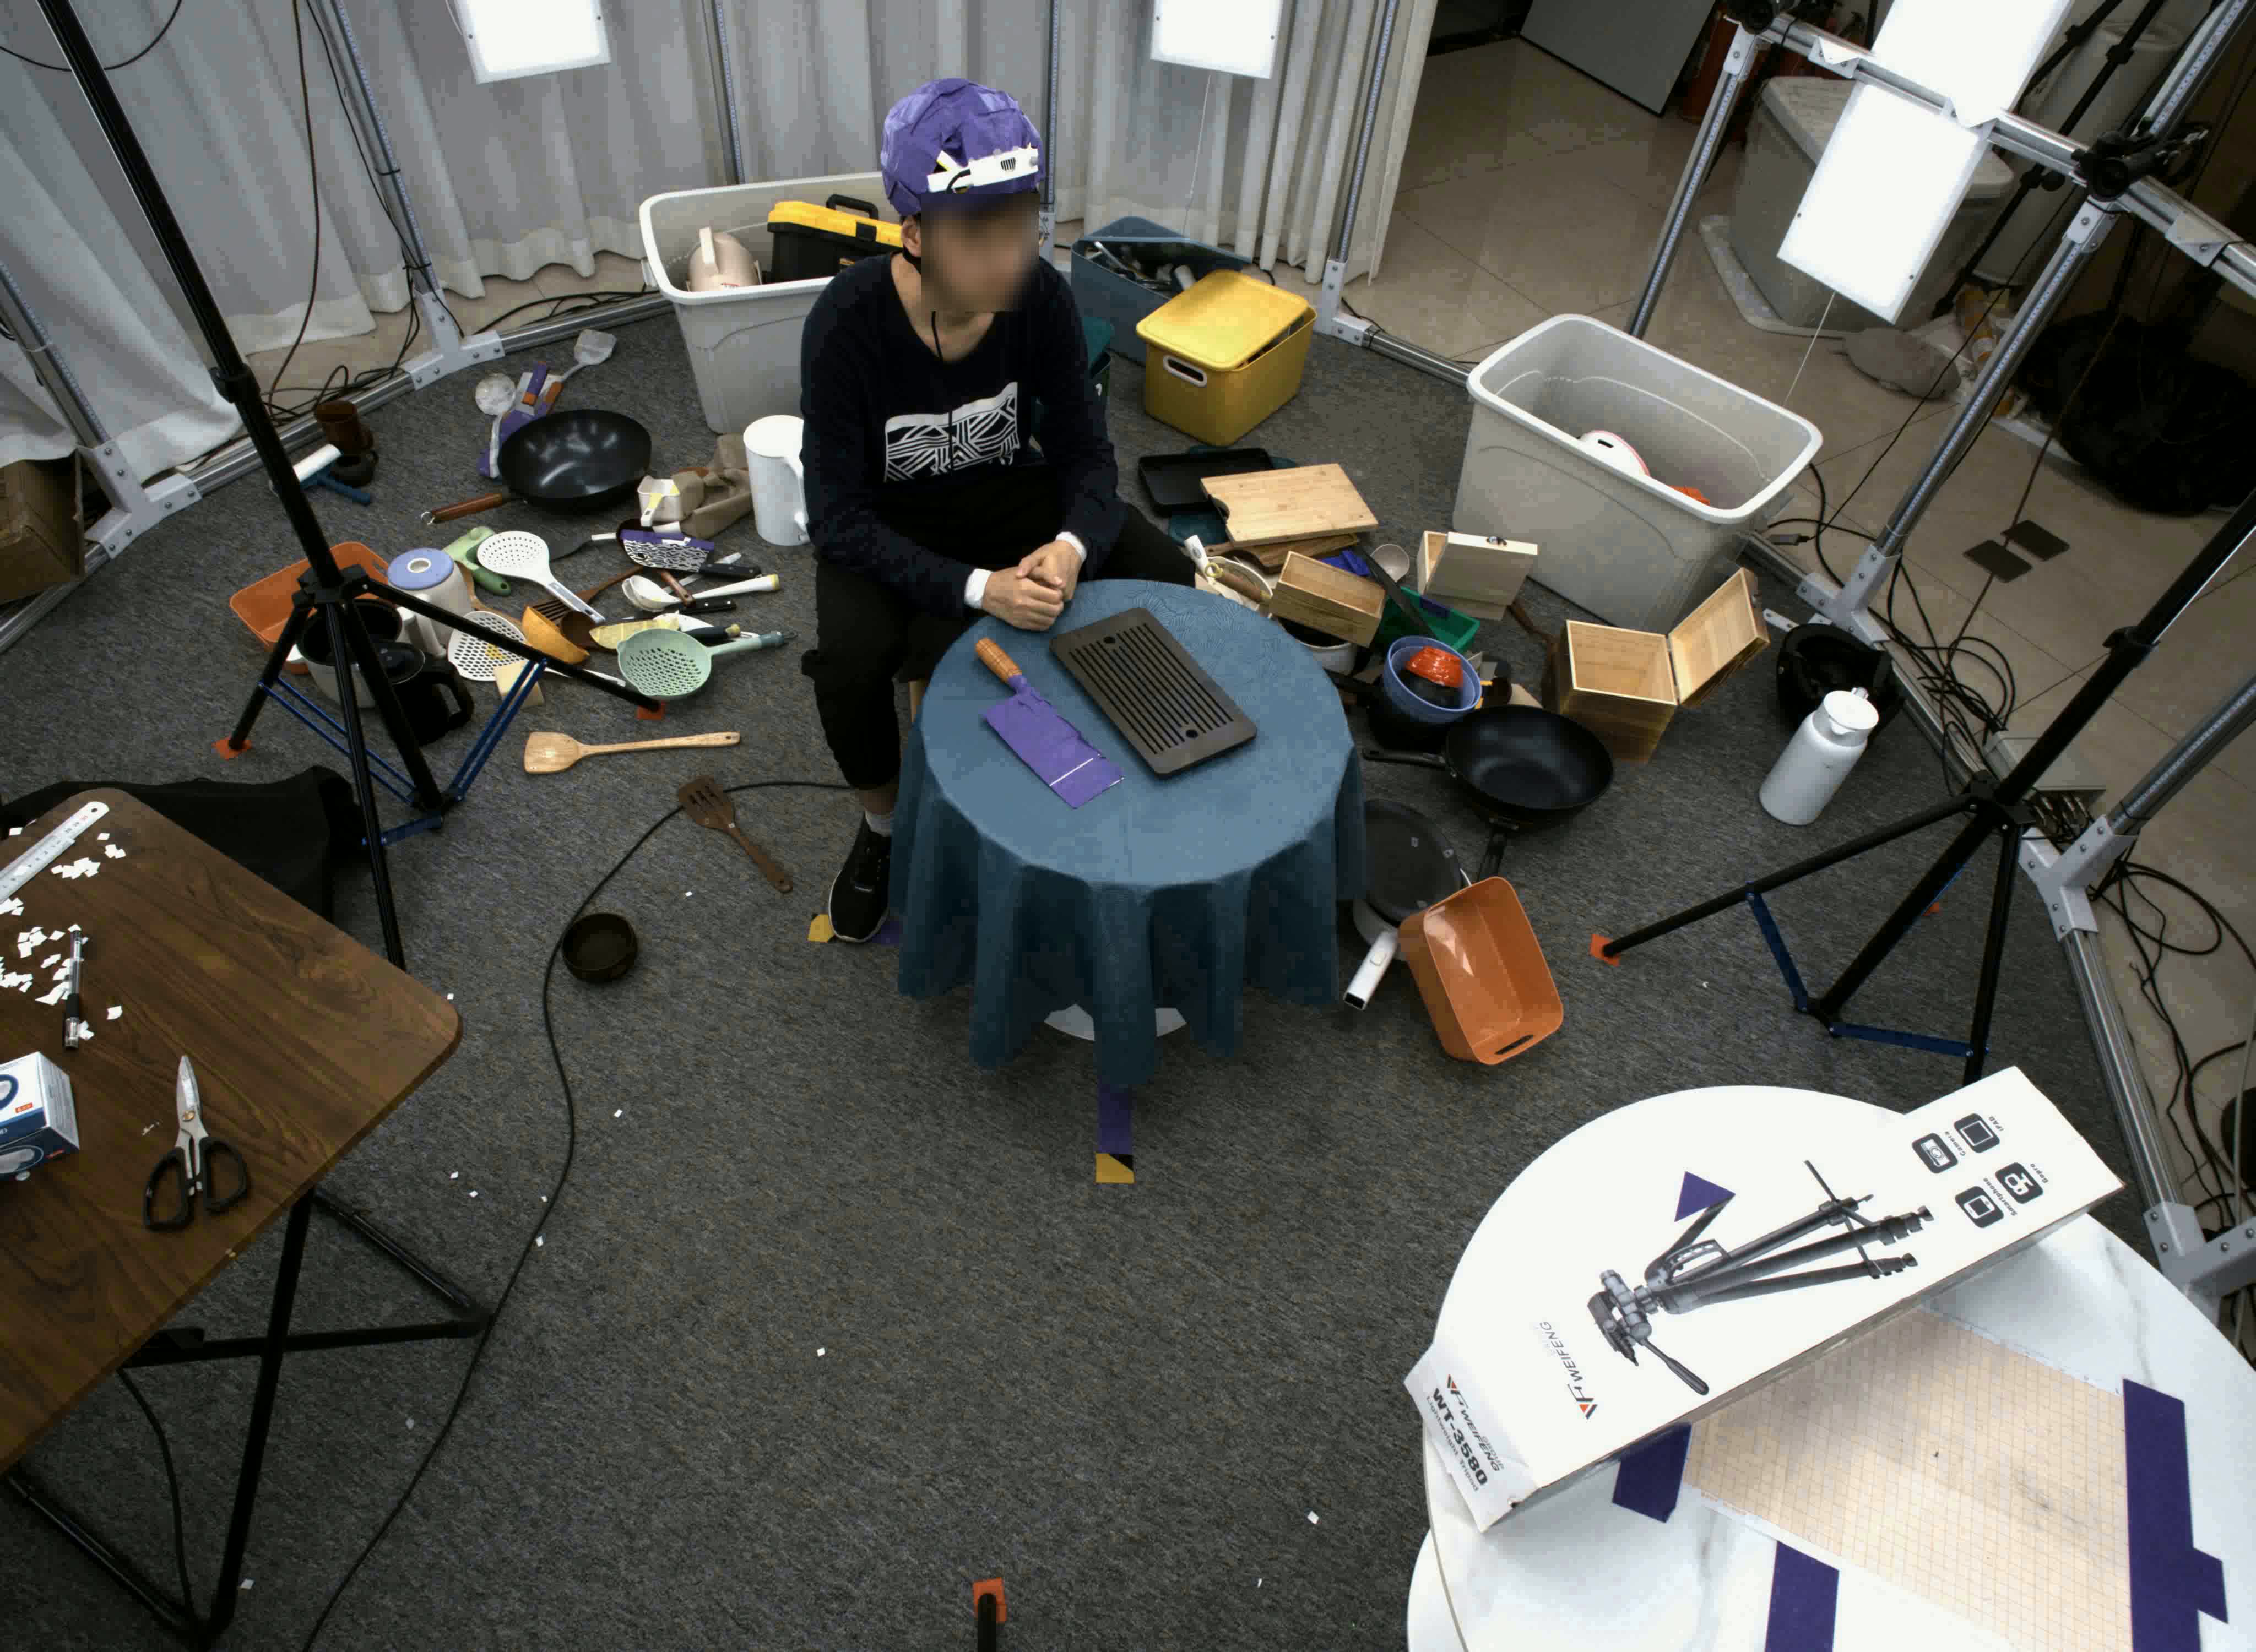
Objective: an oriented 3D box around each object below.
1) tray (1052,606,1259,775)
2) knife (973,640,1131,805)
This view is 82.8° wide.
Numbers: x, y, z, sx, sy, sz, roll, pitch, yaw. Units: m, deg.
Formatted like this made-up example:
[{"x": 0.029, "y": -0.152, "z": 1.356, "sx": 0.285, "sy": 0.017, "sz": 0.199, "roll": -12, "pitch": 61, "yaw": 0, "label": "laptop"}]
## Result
[{"x": 0.035, "y": -0.198, "z": 1.829, "sx": 0.171, "sy": 0.018, "sz": 0.312, "roll": -24, "pitch": 54, "yaw": -22, "label": "tray"}, {"x": -0.134, "y": -0.146, "z": 1.768, "sx": 0.104, "sy": 0.031, "sz": 0.320, "roll": -31, "pitch": 58, "yaw": -27, "label": "knife"}]
